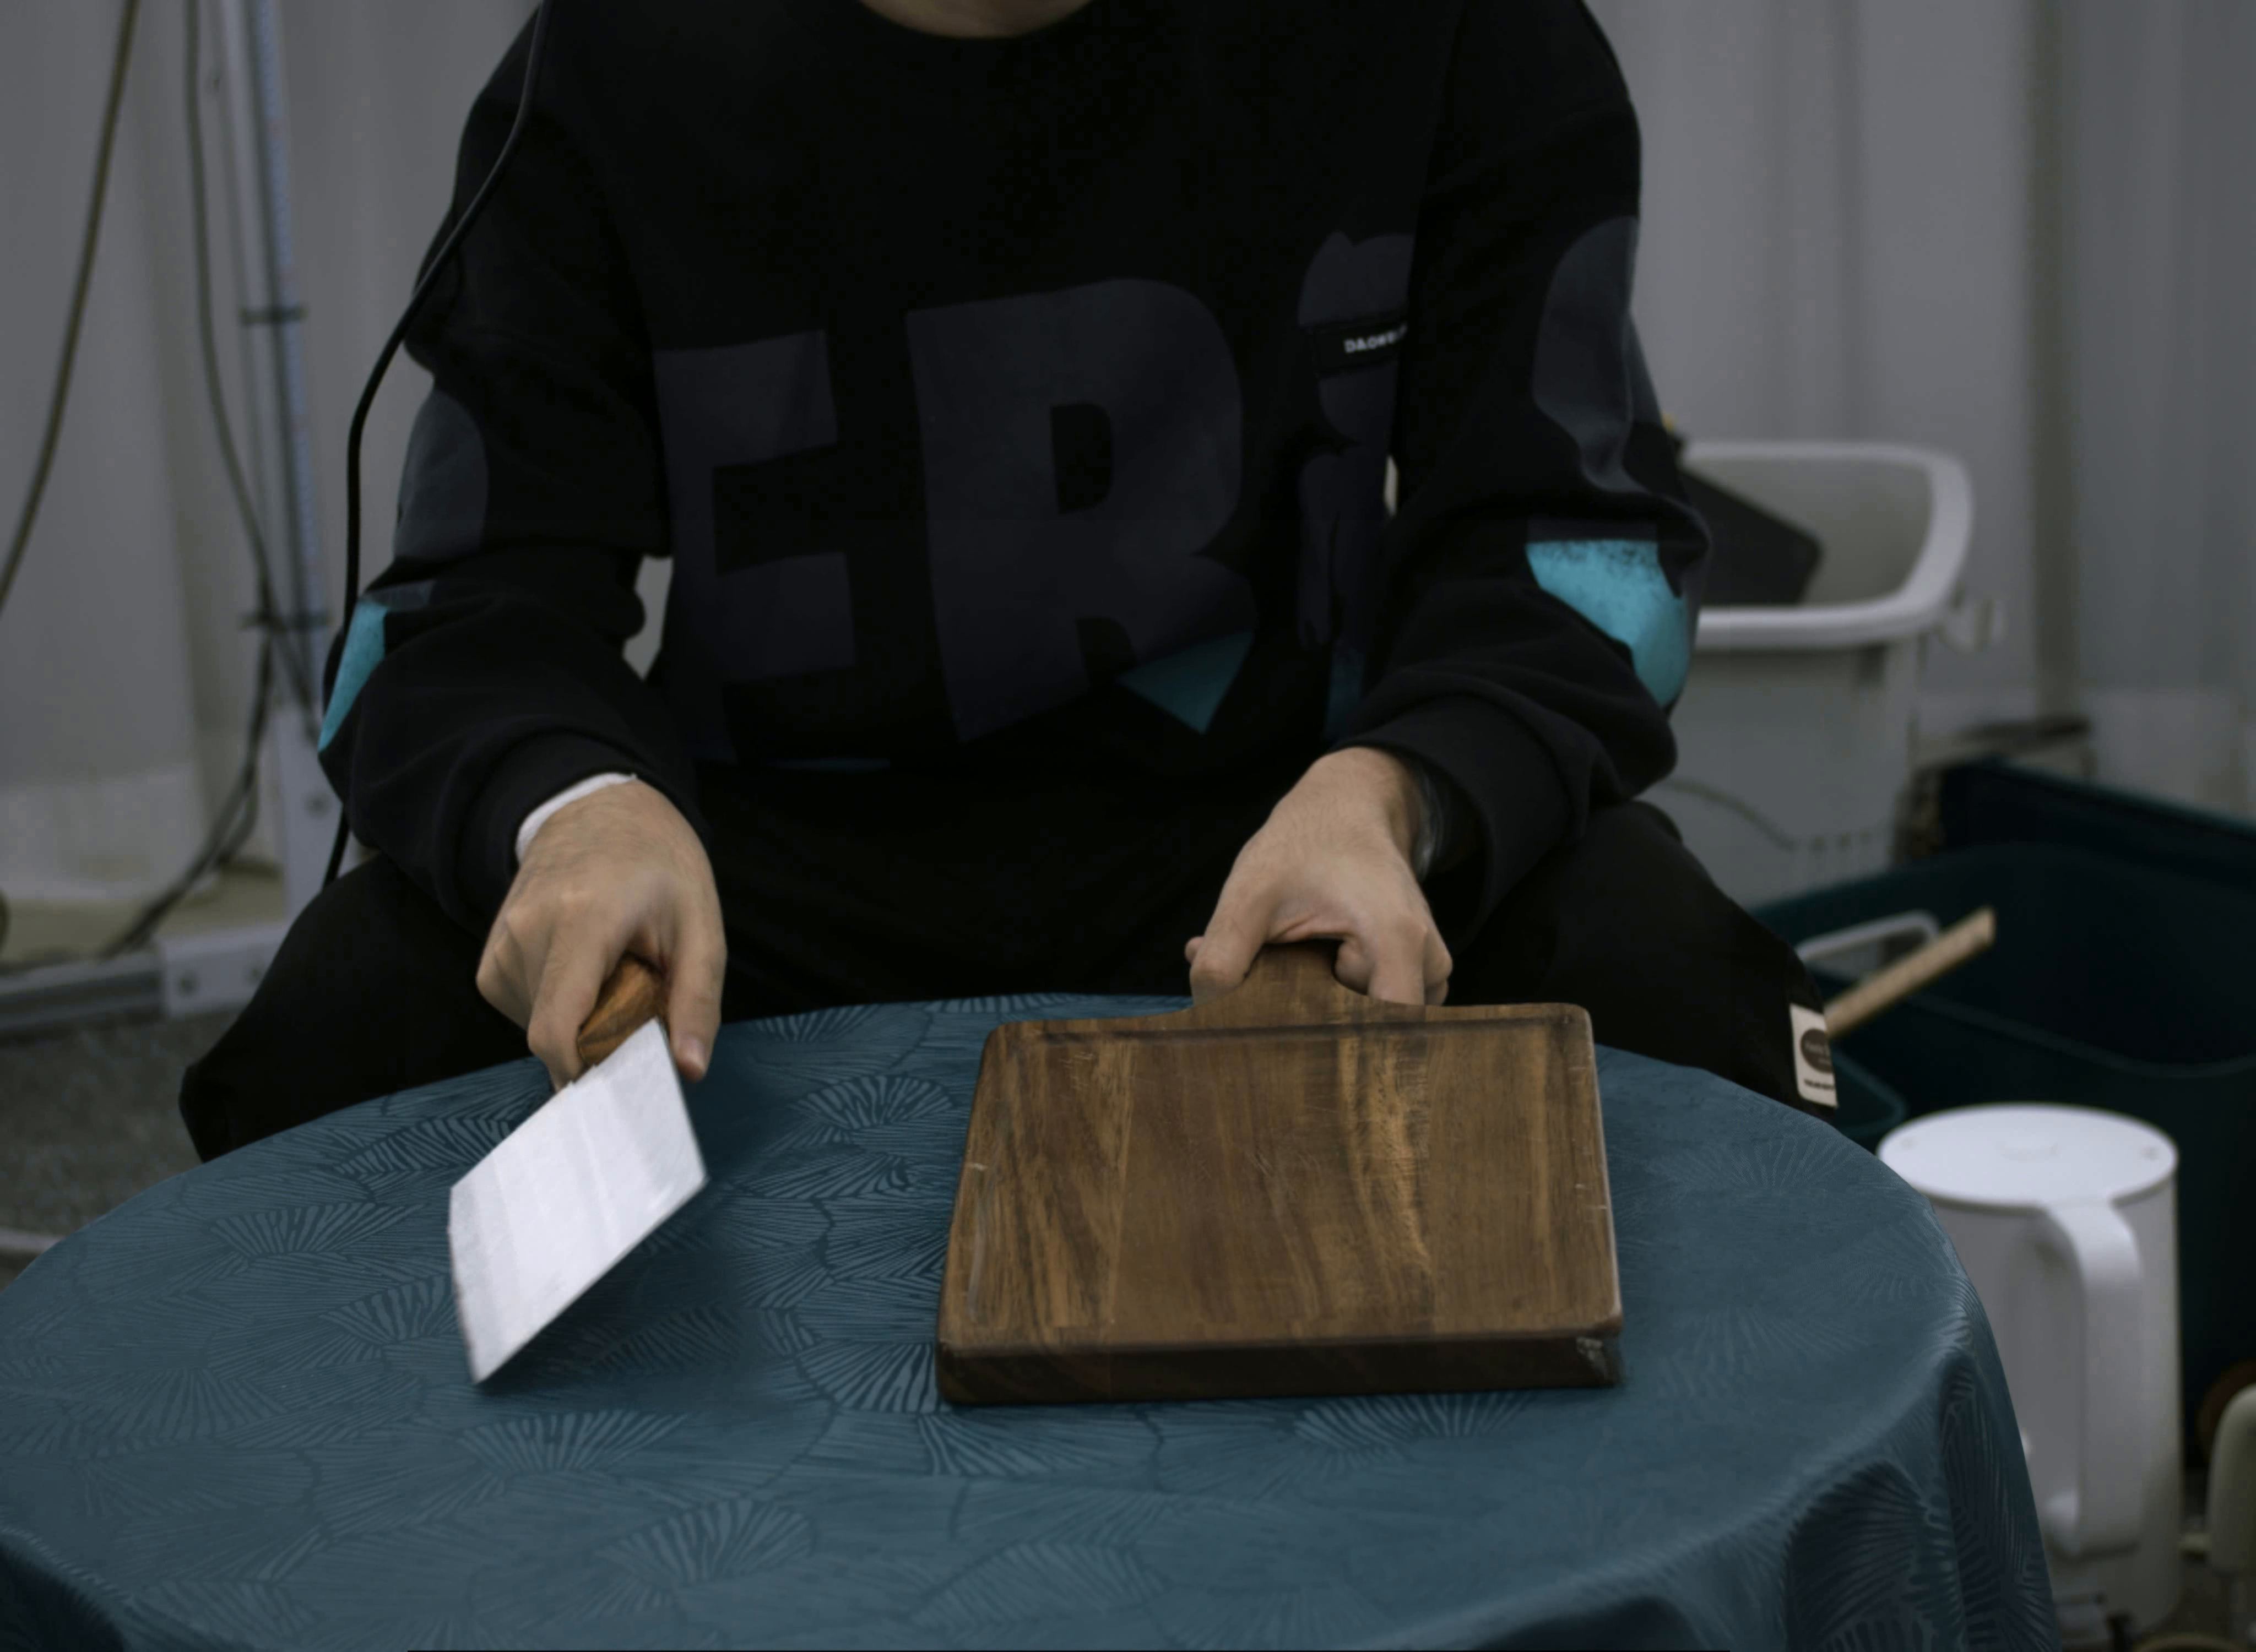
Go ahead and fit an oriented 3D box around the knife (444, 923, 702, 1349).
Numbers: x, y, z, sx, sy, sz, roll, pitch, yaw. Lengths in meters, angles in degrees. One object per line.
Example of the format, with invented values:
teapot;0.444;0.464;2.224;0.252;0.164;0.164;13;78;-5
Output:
knife;-0.177;0.097;1.711;0.093;0.021;0.308;-39;16;2

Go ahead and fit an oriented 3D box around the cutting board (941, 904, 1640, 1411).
cutting board;0.049;0.094;1.694;0.200;0.023;0.355;-2;19;3
